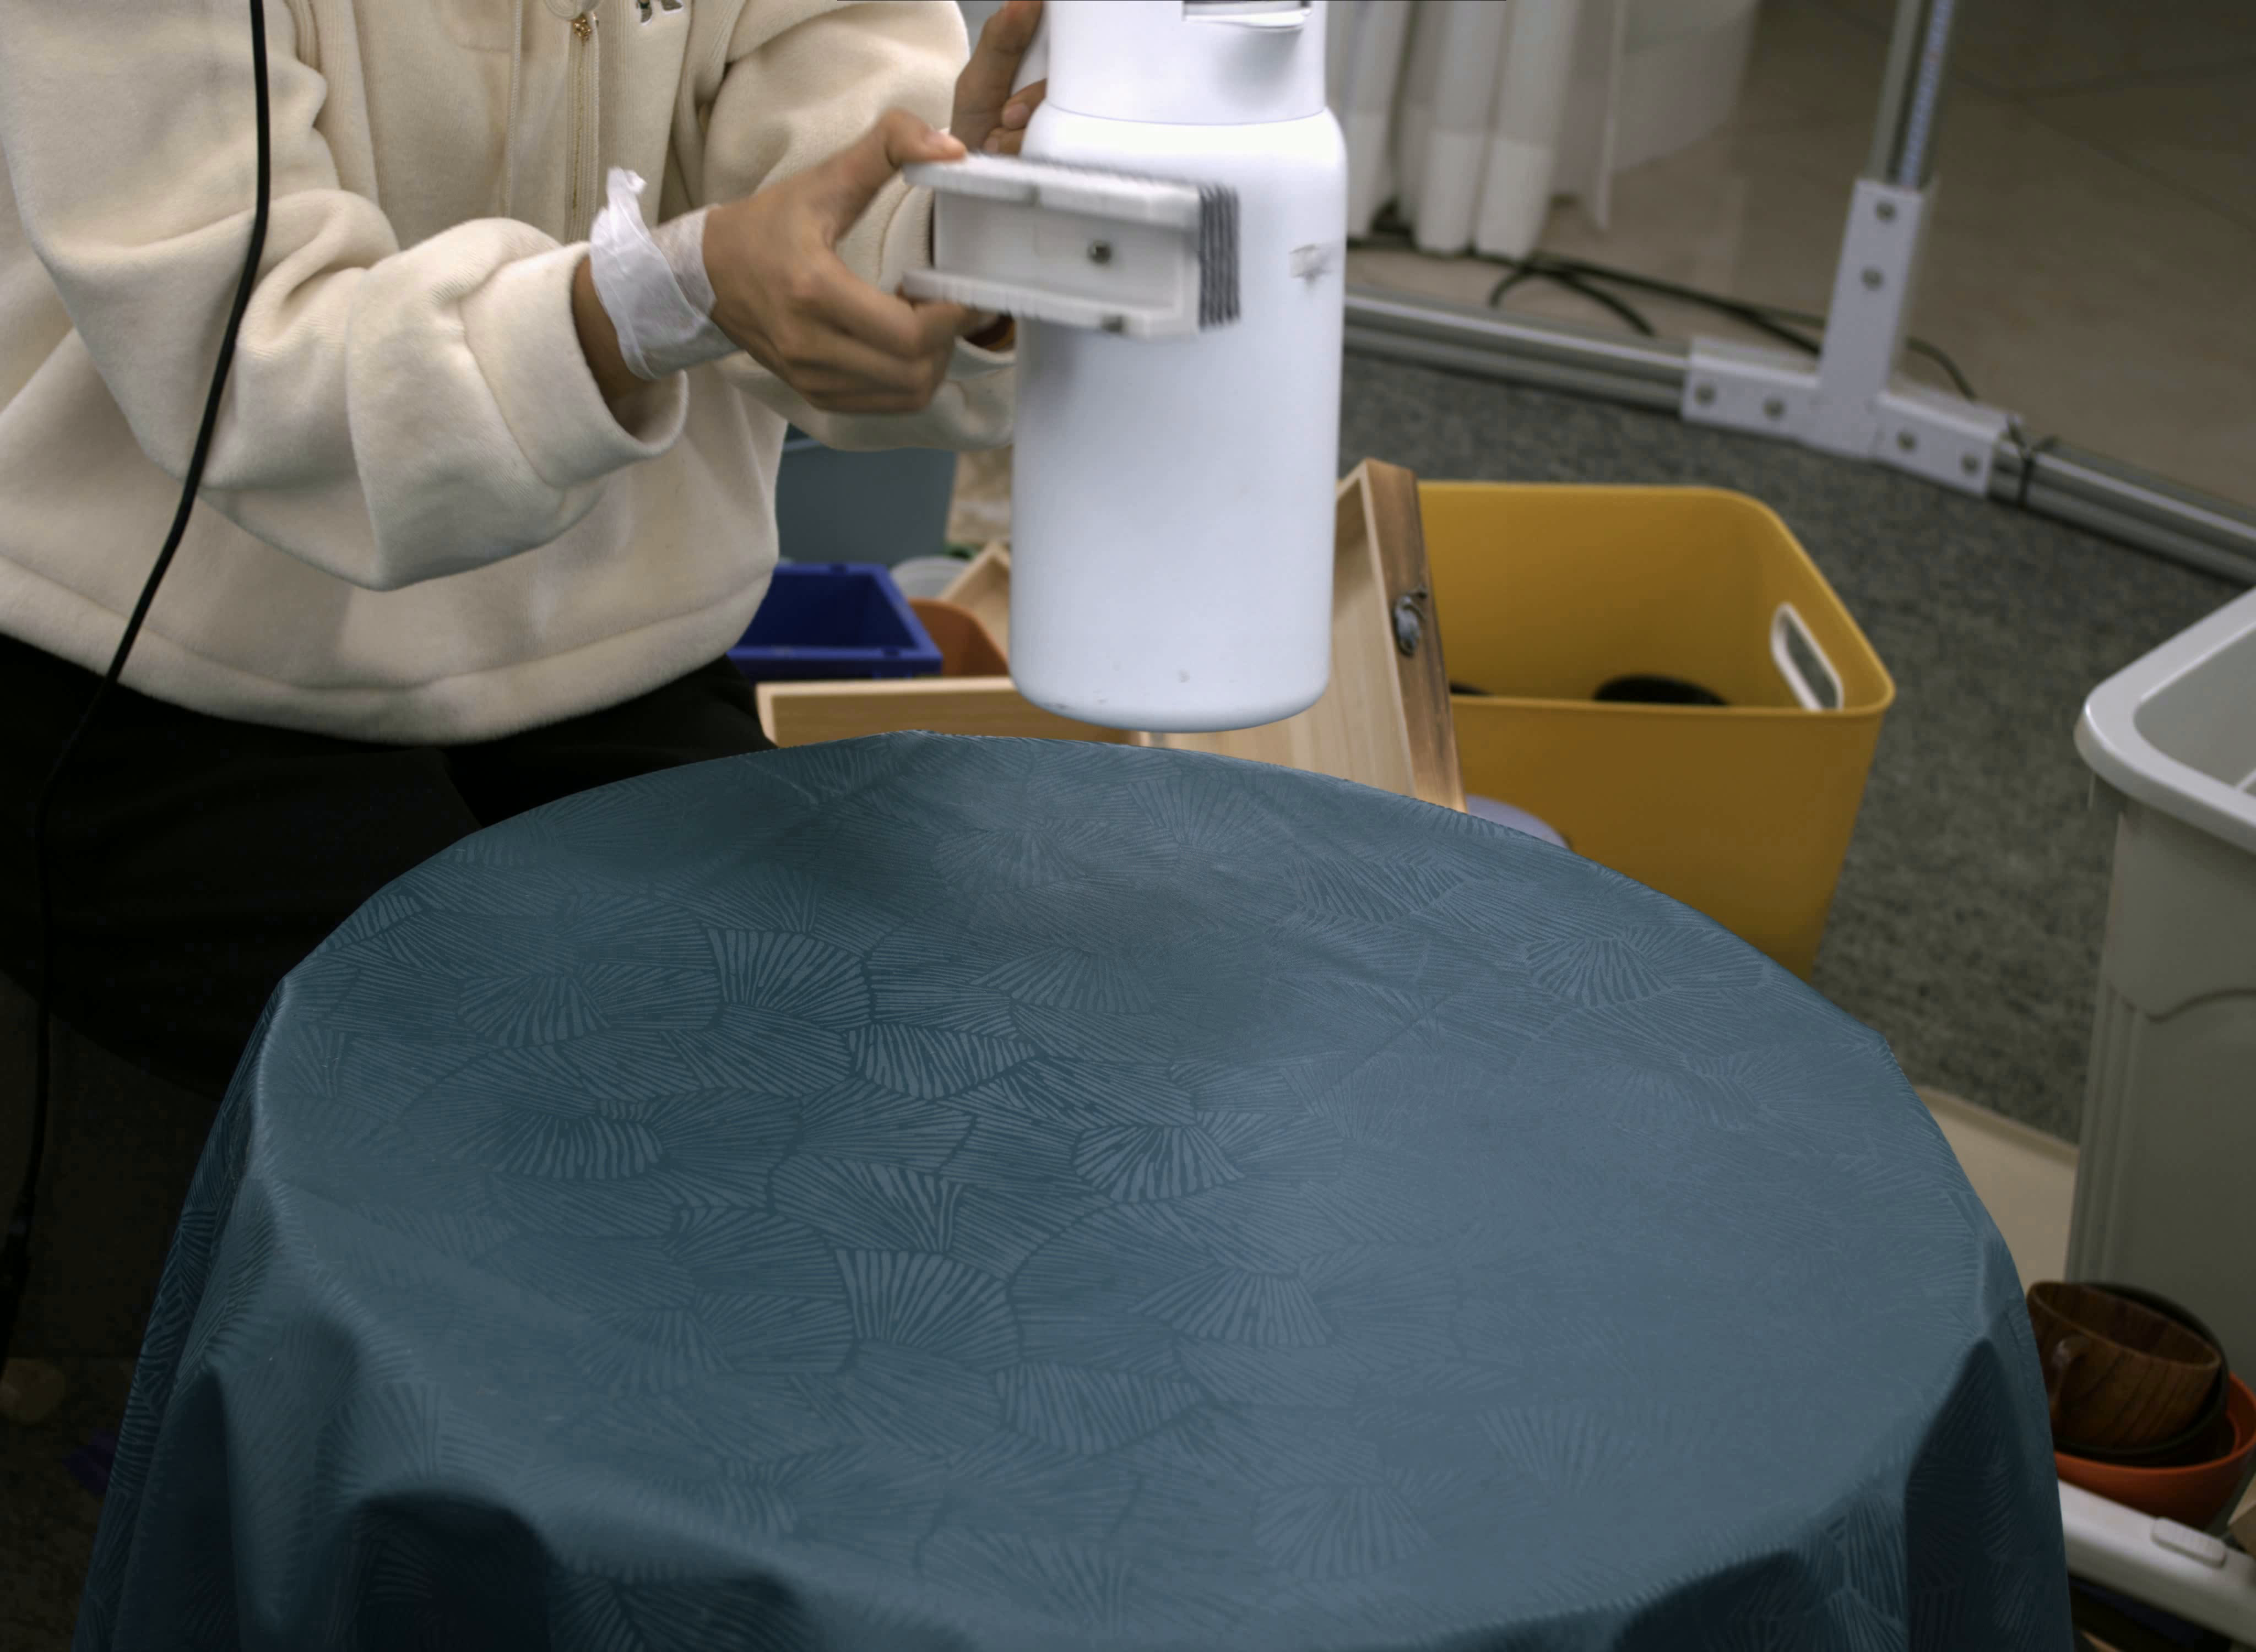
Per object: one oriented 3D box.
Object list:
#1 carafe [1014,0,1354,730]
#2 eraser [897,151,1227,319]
[{"bbox_3d":[0.010,-0.179,1.920,0.123,0.268,0.174,-10,19,-28],"label":"carafe"},{"bbox_3d":[-0.024,-0.204,1.822,0.046,0.050,0.135,-14,16,-36],"label":"eraser"}]
